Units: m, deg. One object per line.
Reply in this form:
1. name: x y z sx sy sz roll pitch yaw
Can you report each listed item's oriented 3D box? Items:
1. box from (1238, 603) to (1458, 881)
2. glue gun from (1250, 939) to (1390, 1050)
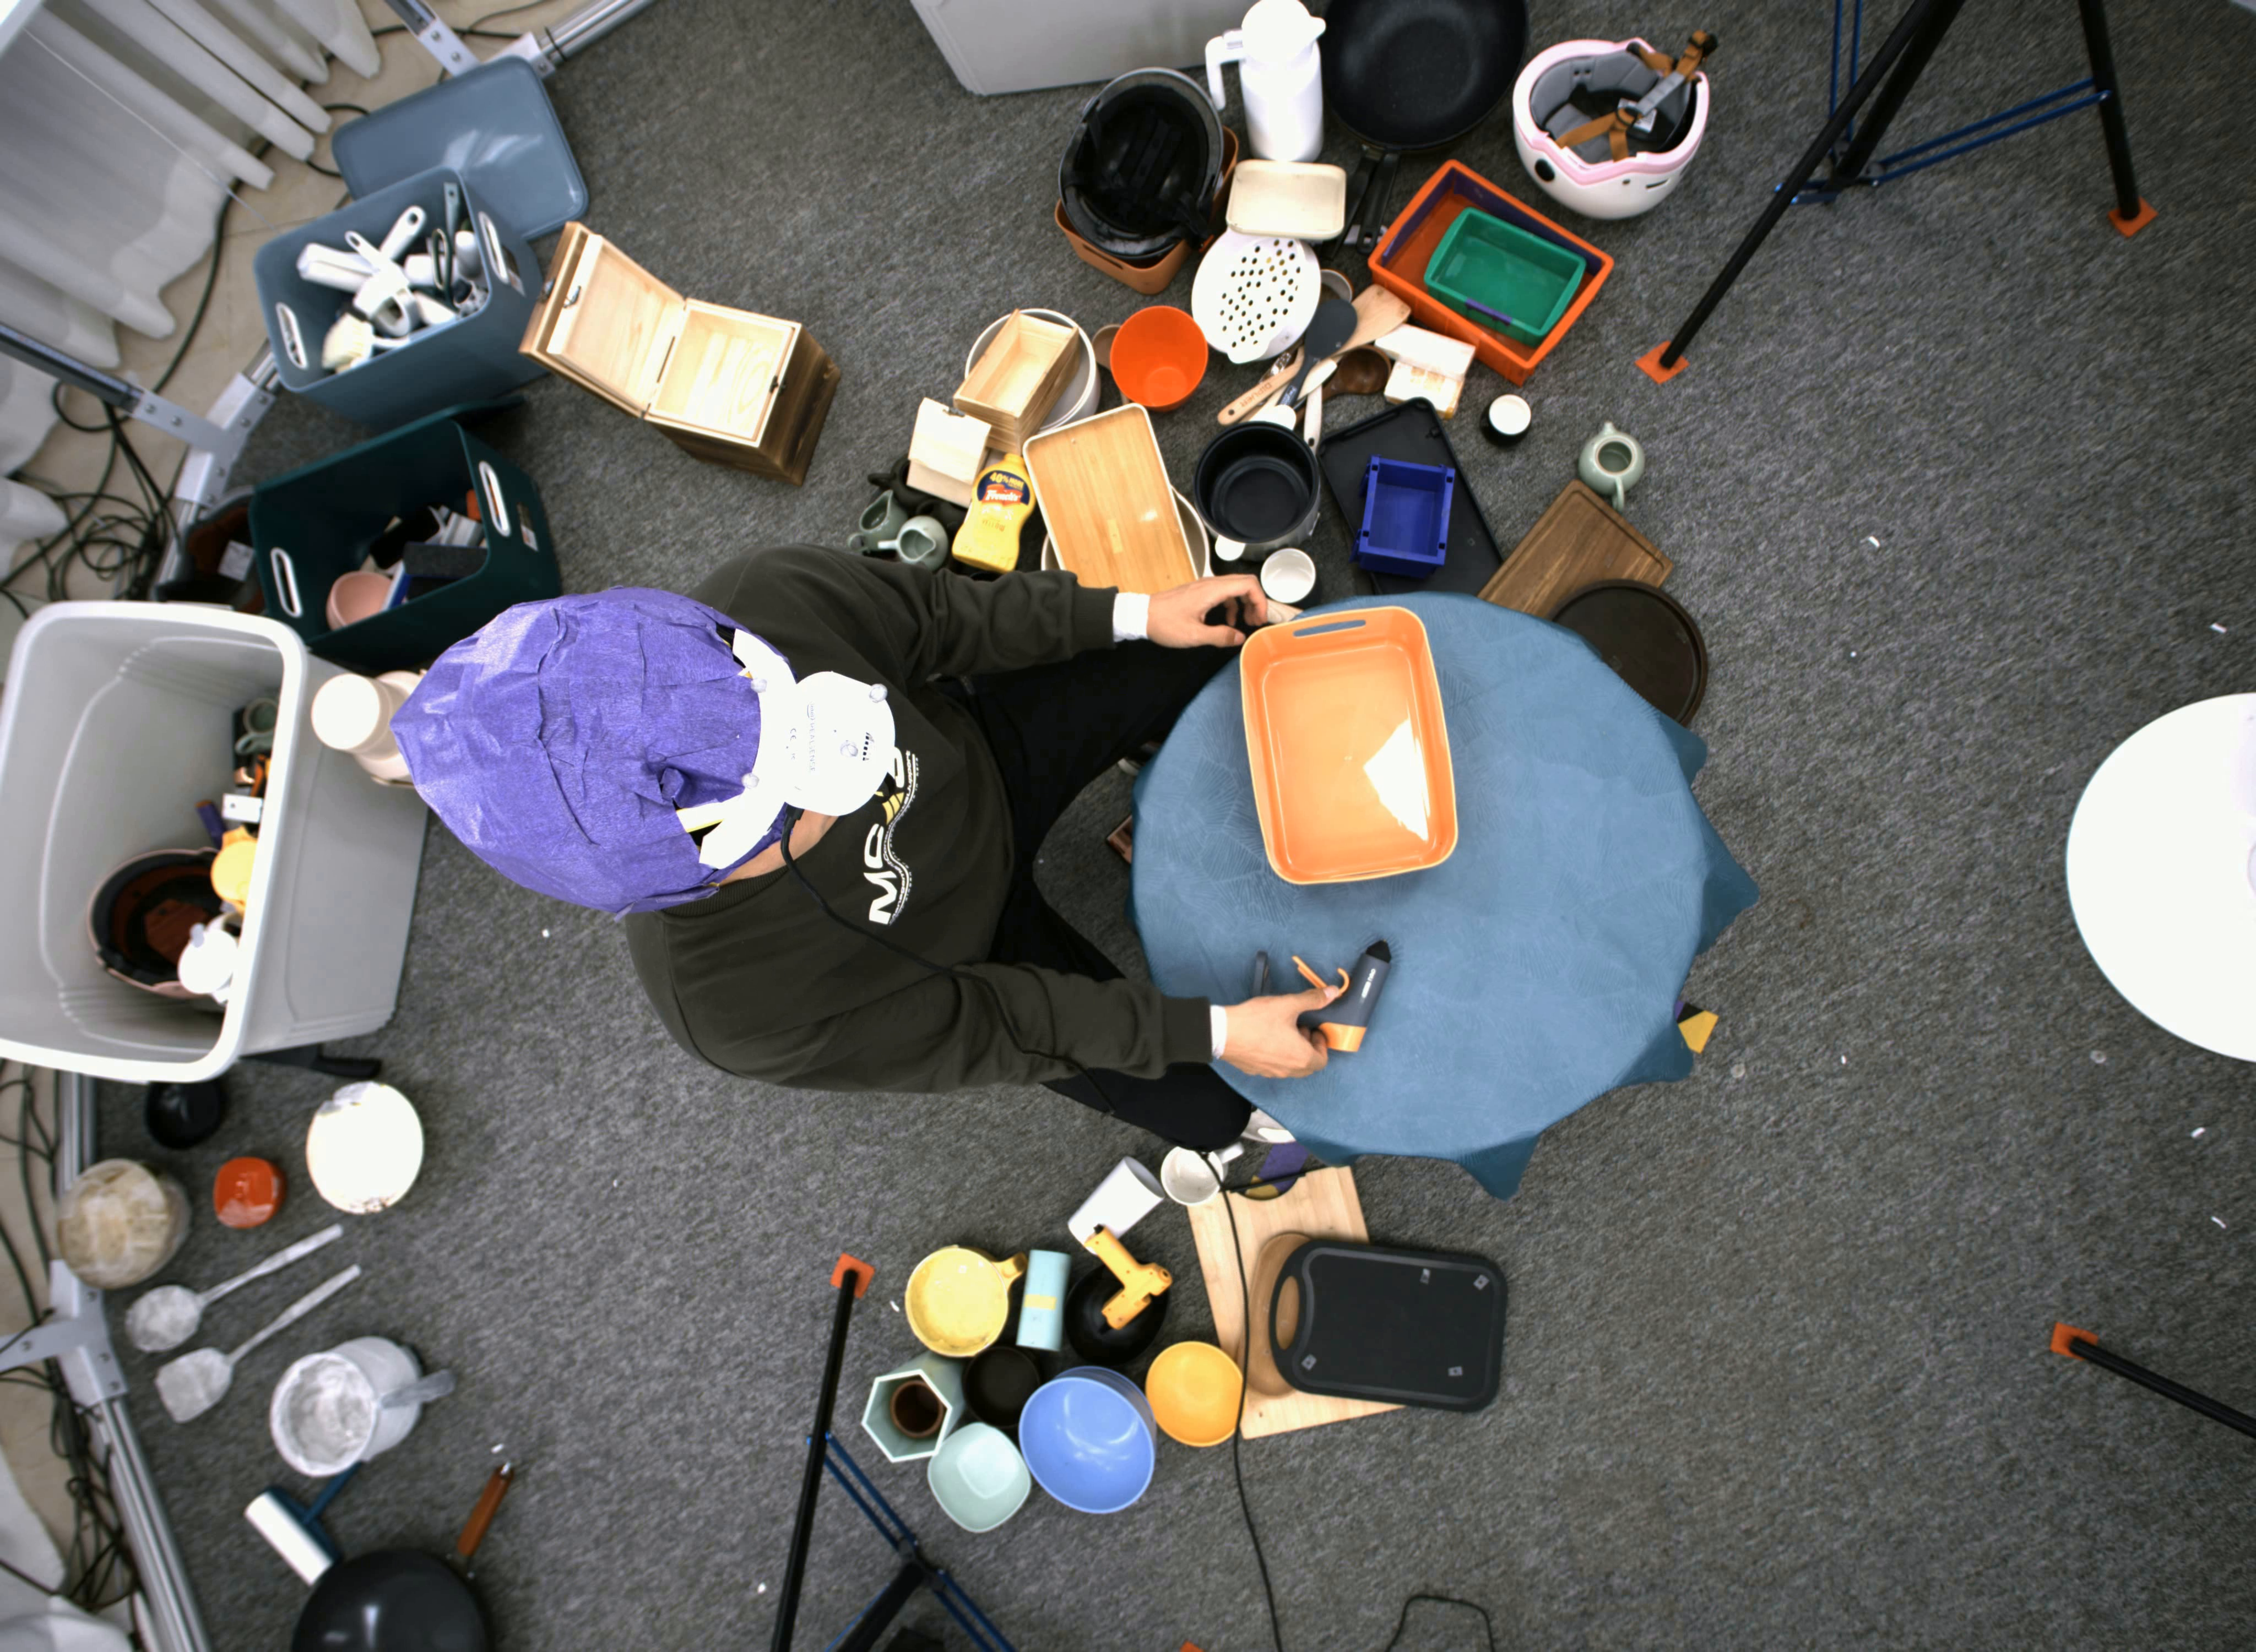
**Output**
1. box: 0.226 -0.080 1.424 0.200 0.102 0.272 -9 85 10
2. glue gun: 0.201 0.170 1.450 0.140 0.041 0.117 5 85 9
